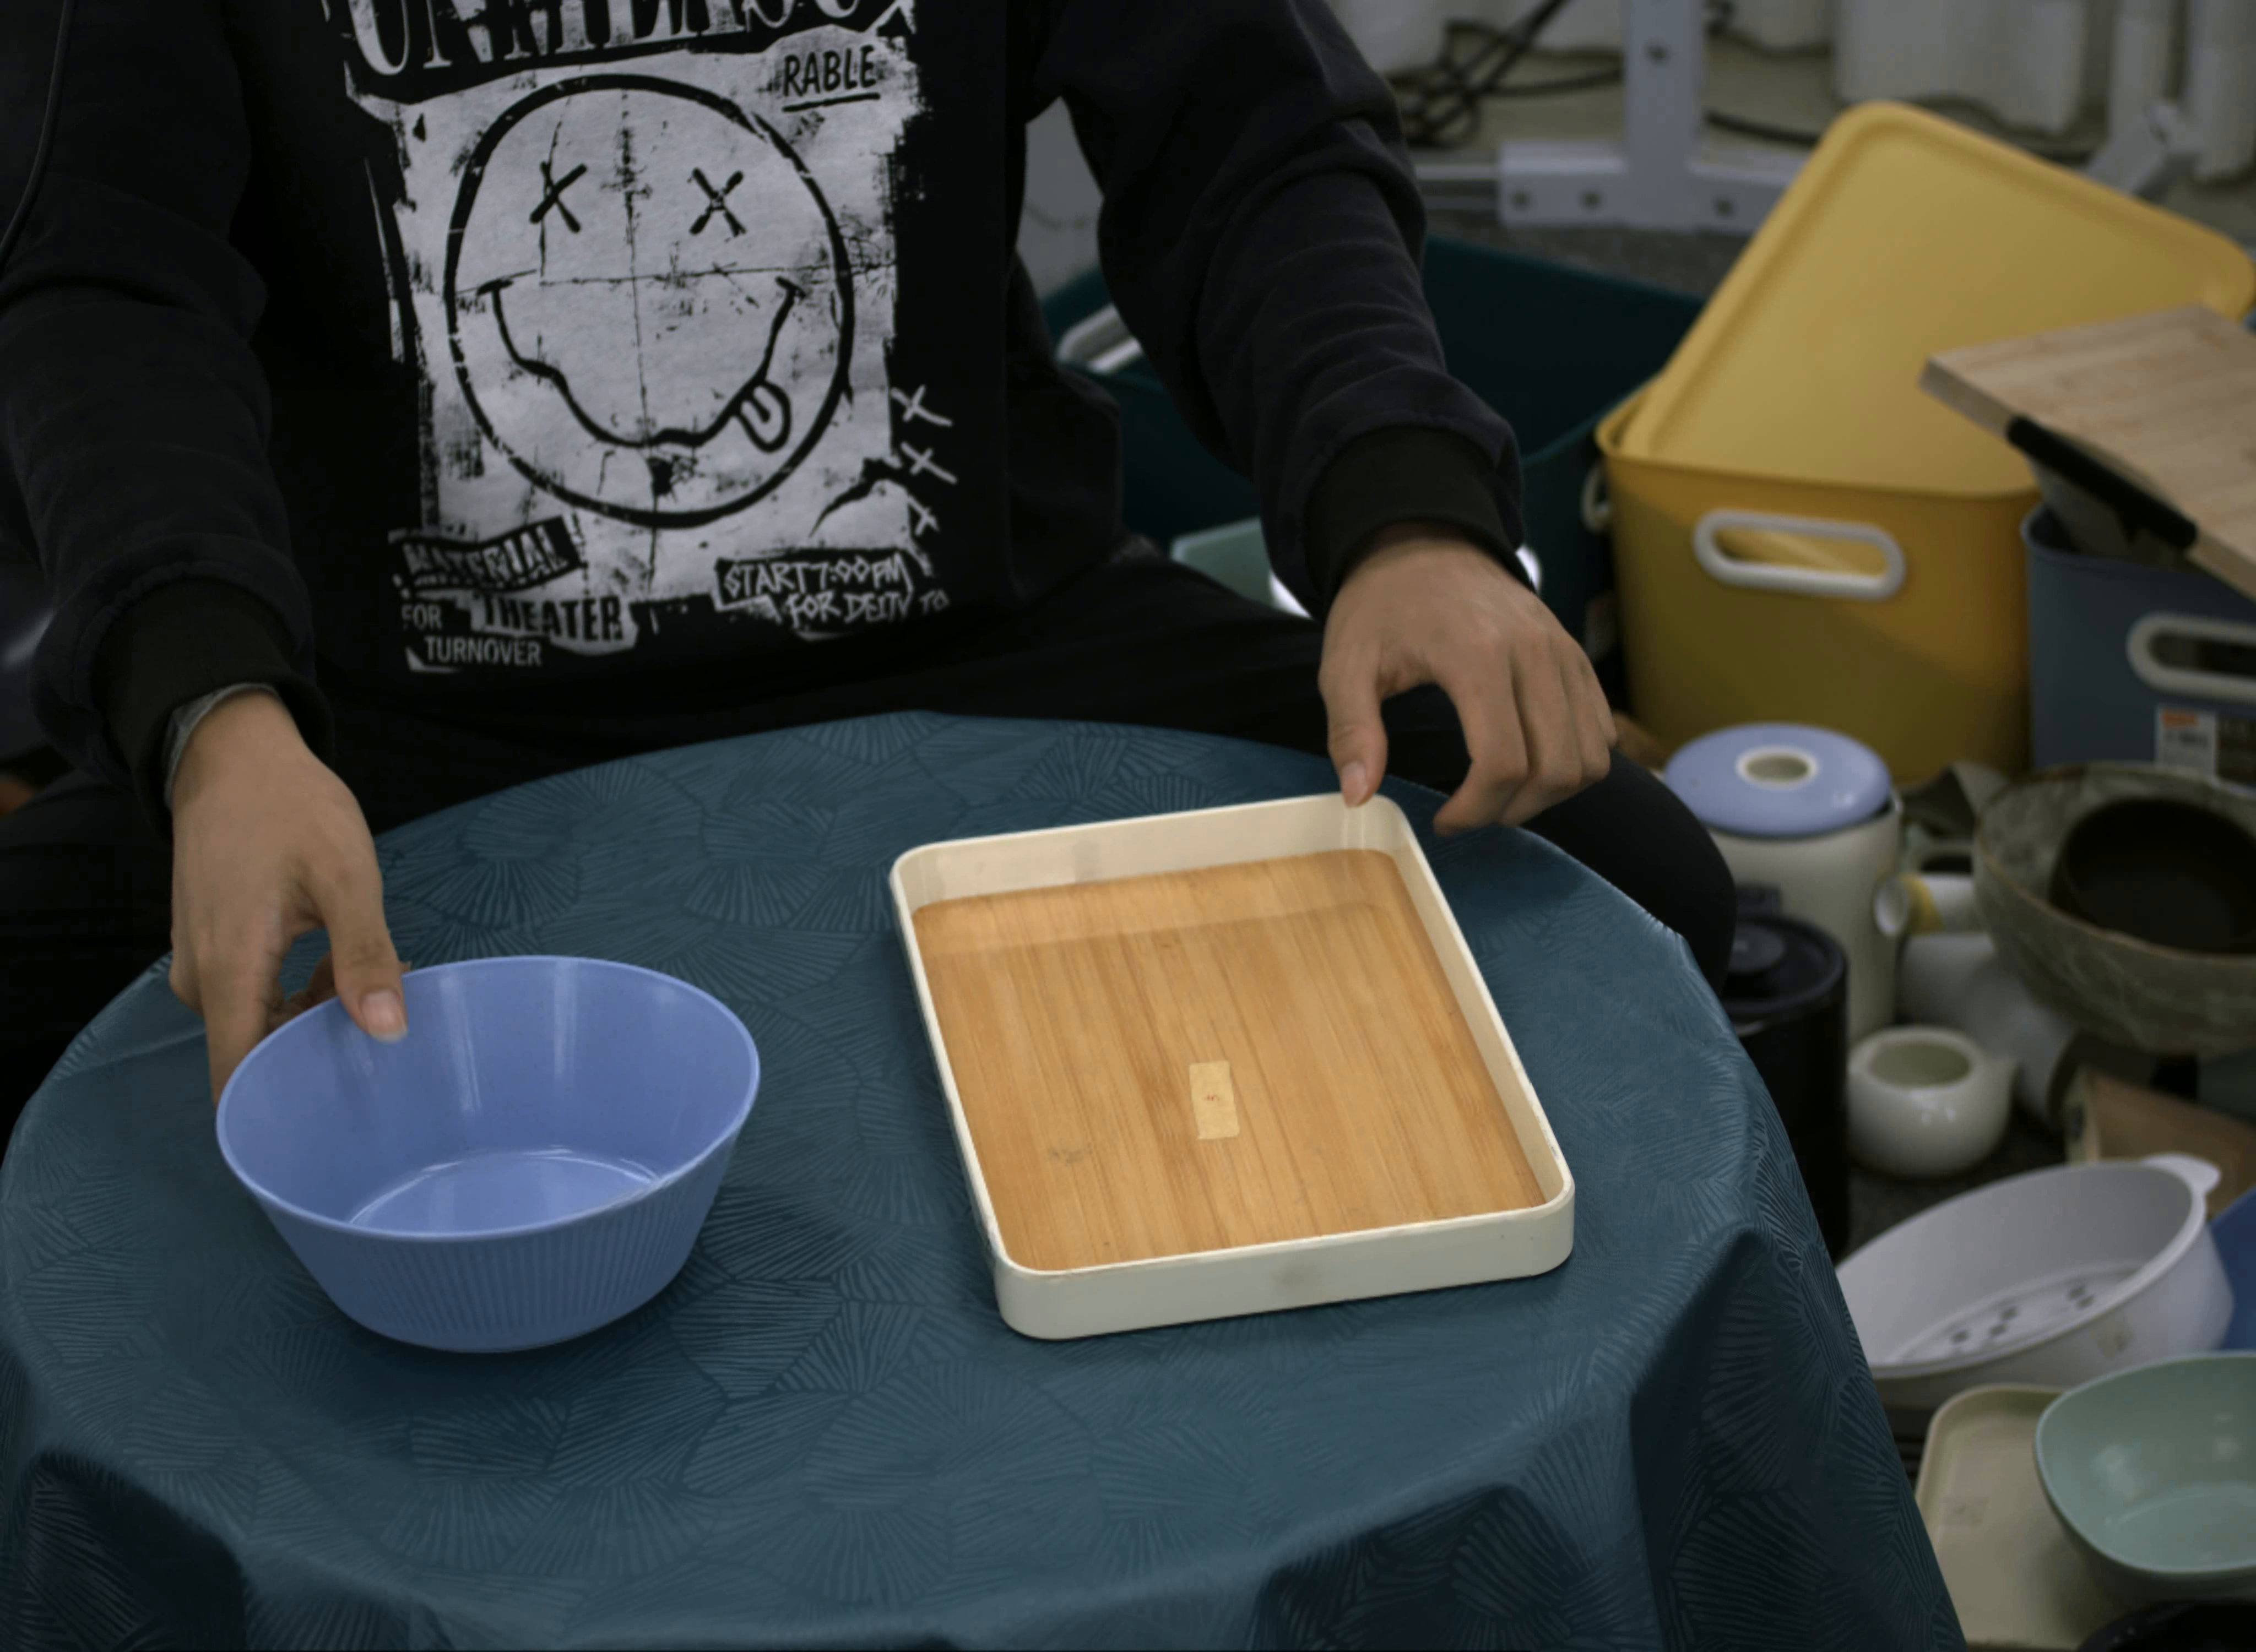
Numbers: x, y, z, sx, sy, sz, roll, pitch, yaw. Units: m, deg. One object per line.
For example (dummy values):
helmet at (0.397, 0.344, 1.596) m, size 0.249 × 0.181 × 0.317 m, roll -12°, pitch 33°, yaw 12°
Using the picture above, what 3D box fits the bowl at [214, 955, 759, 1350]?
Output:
bowl at (-0.205, 0.113, 1.822) m, size 0.175 × 0.069 × 0.179 m, roll -2°, pitch 28°, yaw 1°

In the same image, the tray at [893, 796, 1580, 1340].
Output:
tray at (0.031, 0.077, 1.917) m, size 0.191 × 0.027 × 0.304 m, roll -7°, pitch 28°, yaw -7°
